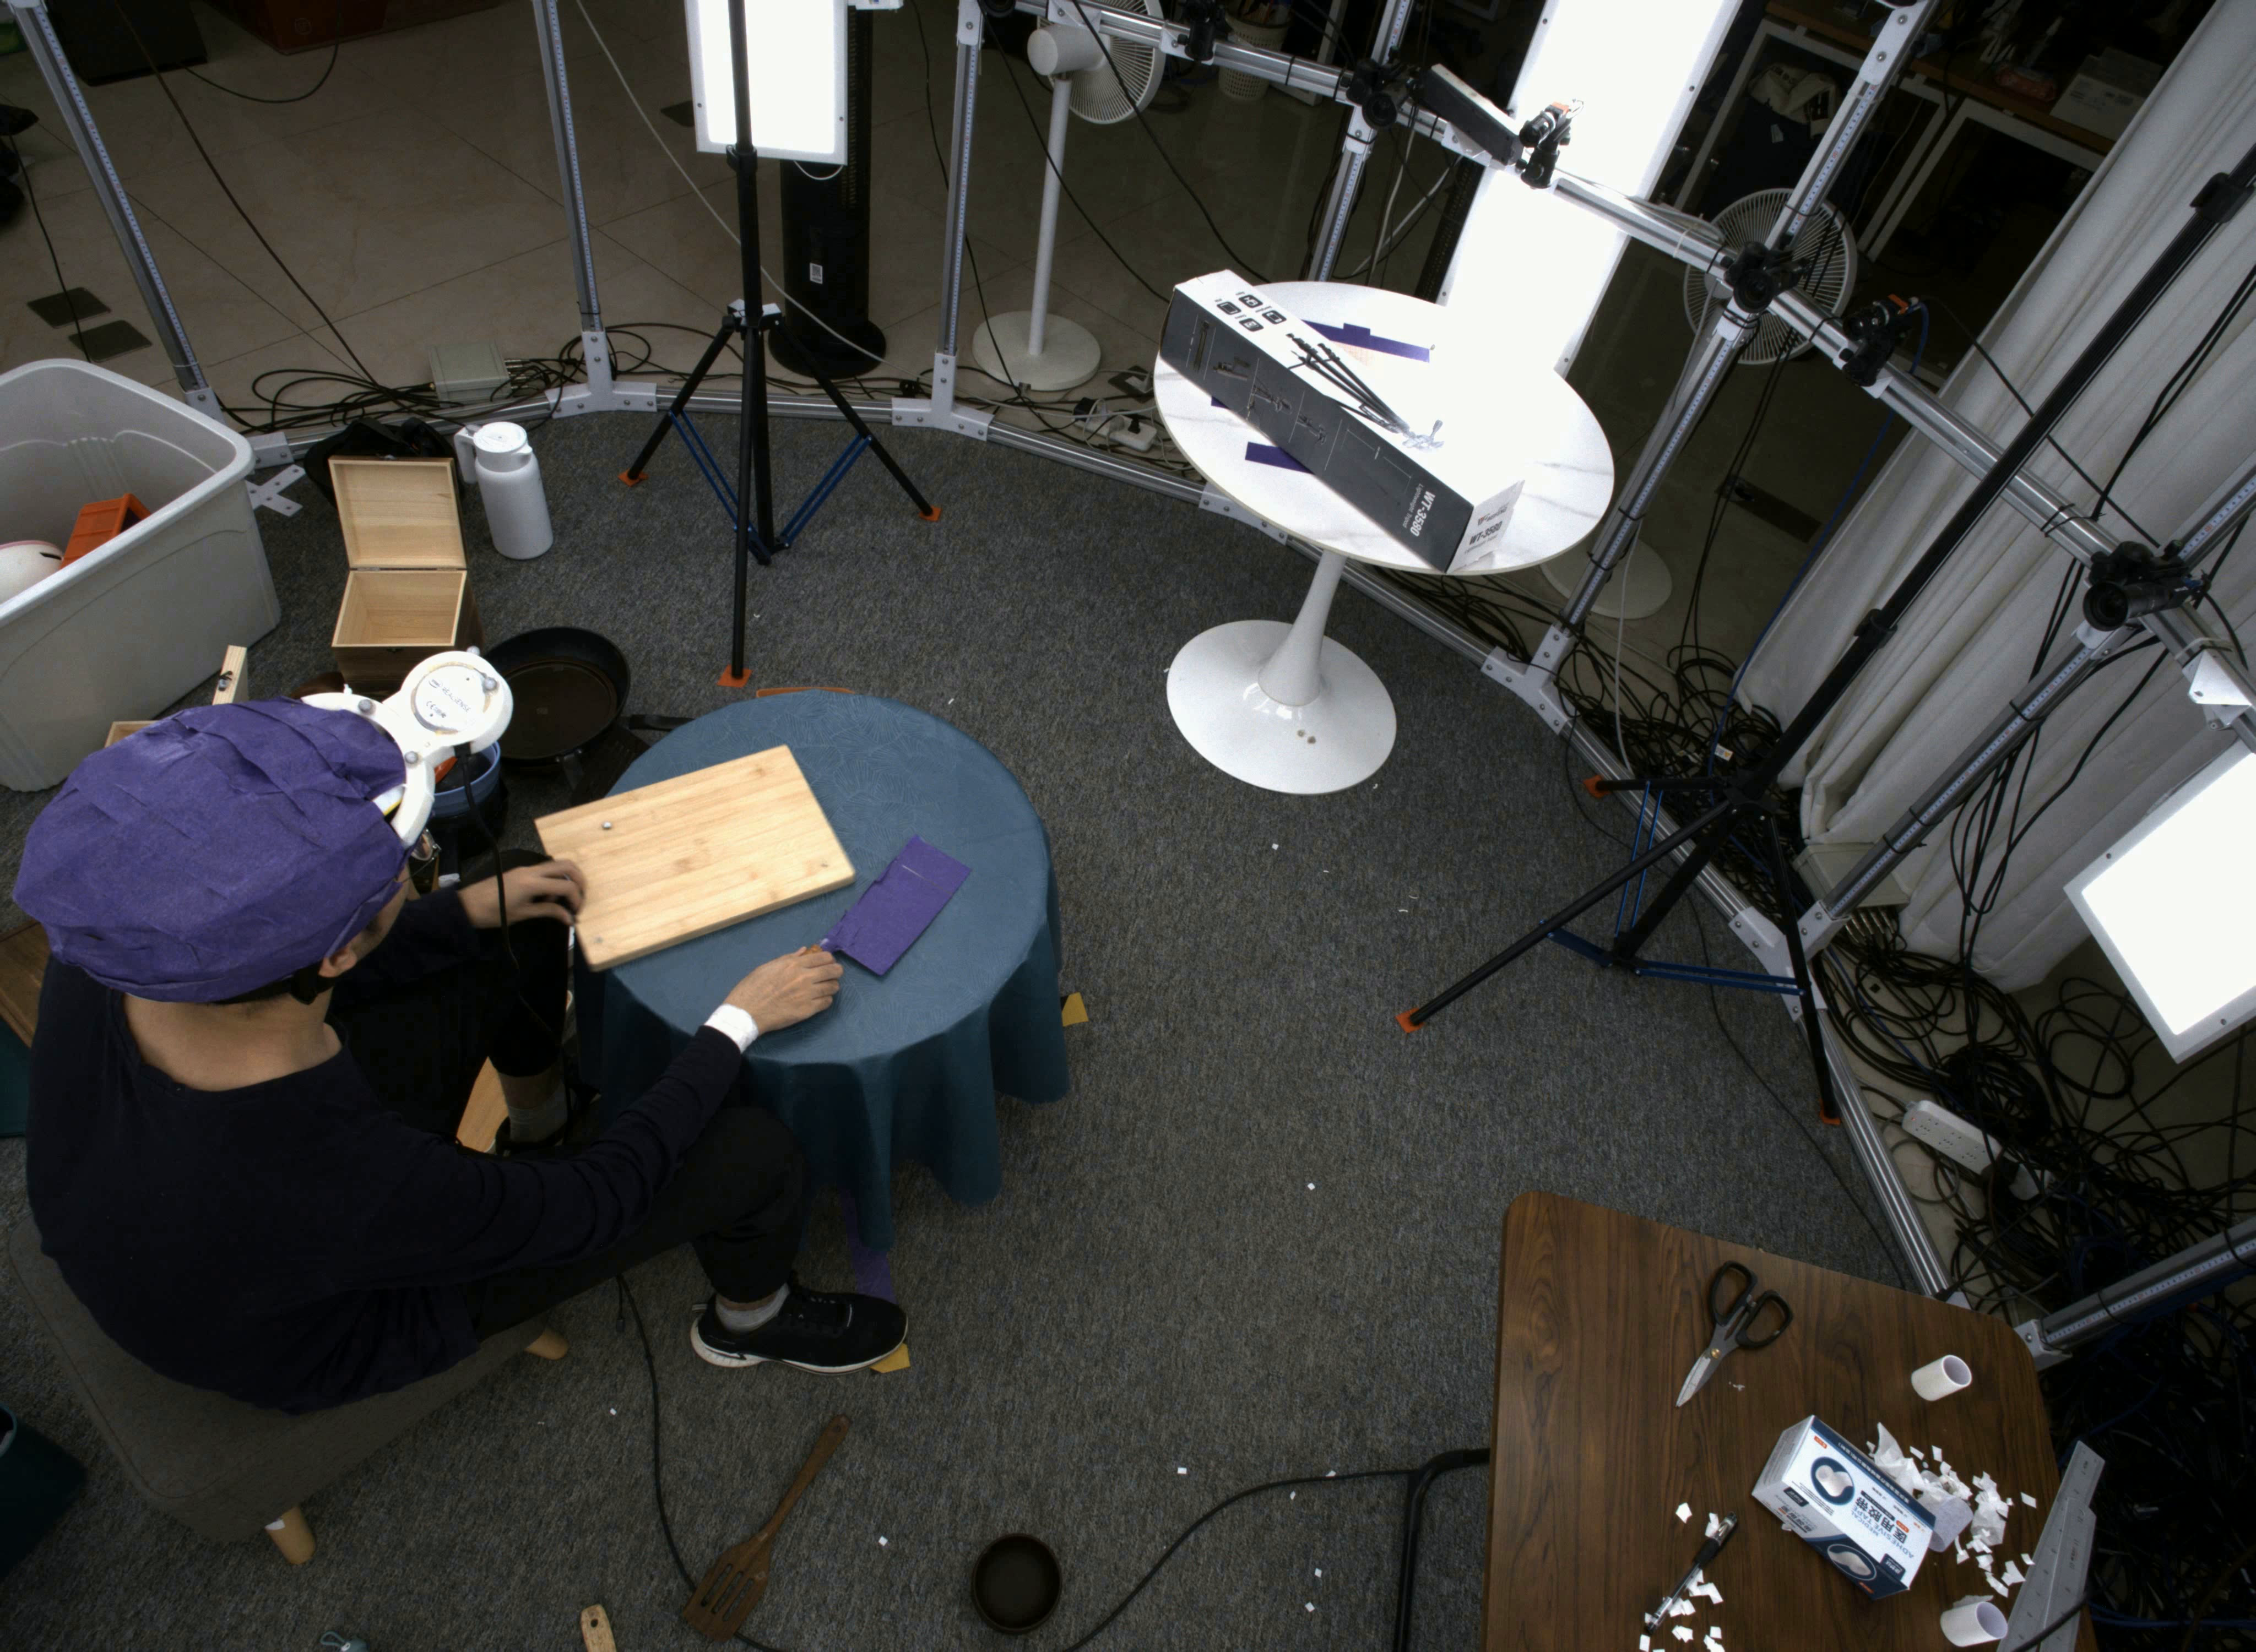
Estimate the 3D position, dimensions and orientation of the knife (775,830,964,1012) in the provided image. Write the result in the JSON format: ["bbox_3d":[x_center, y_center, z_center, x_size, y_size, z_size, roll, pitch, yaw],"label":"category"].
[{"bbox_3d":[-0.318,0.126,1.650,0.102,0.033,0.314,30,53,6],"label":"knife"}]

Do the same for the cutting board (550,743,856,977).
[{"bbox_3d":[-0.555,0.033,1.667,0.350,0.024,0.244,-22,62,-27],"label":"cutting board"}]
